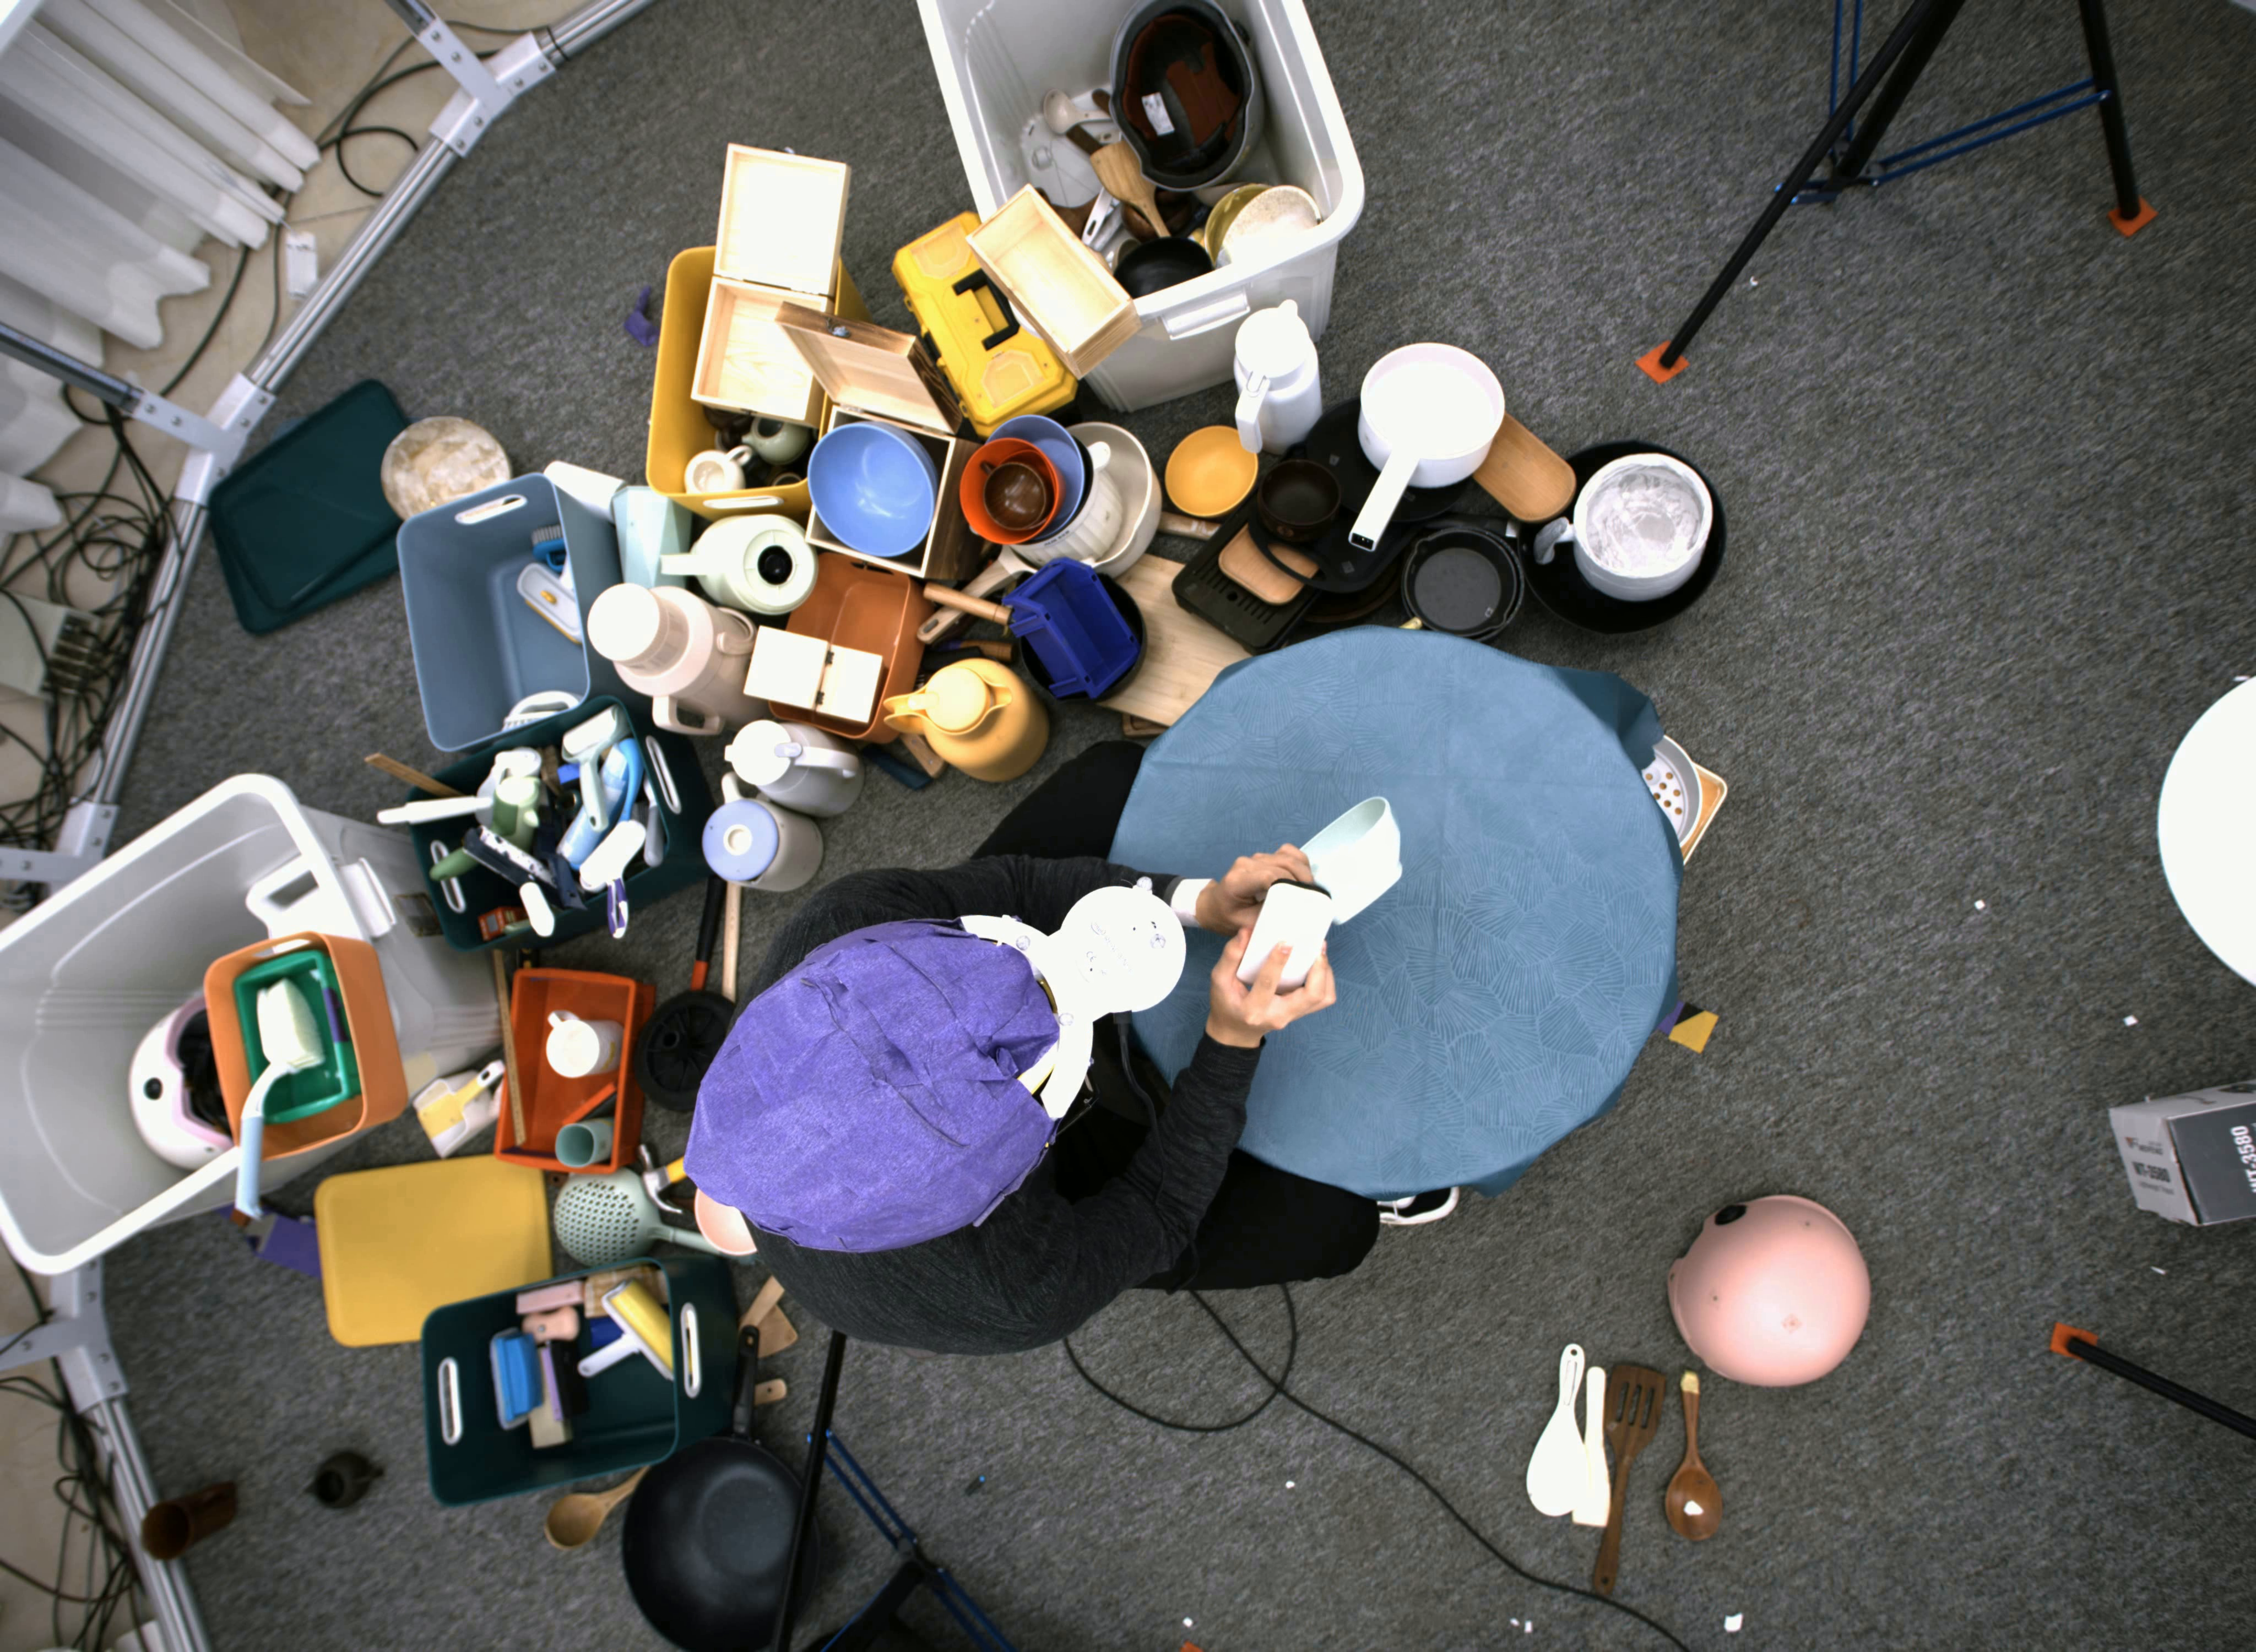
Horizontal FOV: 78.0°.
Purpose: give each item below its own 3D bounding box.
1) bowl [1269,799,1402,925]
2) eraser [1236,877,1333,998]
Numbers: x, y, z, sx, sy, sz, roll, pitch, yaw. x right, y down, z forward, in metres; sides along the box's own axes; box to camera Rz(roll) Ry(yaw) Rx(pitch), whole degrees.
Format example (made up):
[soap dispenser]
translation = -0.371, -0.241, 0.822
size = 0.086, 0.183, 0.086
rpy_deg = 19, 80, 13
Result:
[bowl]
translation = 0.203, 0.040, 1.286
size = 0.152, 0.150, 0.059
rpy_deg = -39, 97, 5
[eraser]
translation = 0.140, 0.103, 1.256
size = 0.063, 0.033, 0.135
rpy_deg = 18, 134, 1
